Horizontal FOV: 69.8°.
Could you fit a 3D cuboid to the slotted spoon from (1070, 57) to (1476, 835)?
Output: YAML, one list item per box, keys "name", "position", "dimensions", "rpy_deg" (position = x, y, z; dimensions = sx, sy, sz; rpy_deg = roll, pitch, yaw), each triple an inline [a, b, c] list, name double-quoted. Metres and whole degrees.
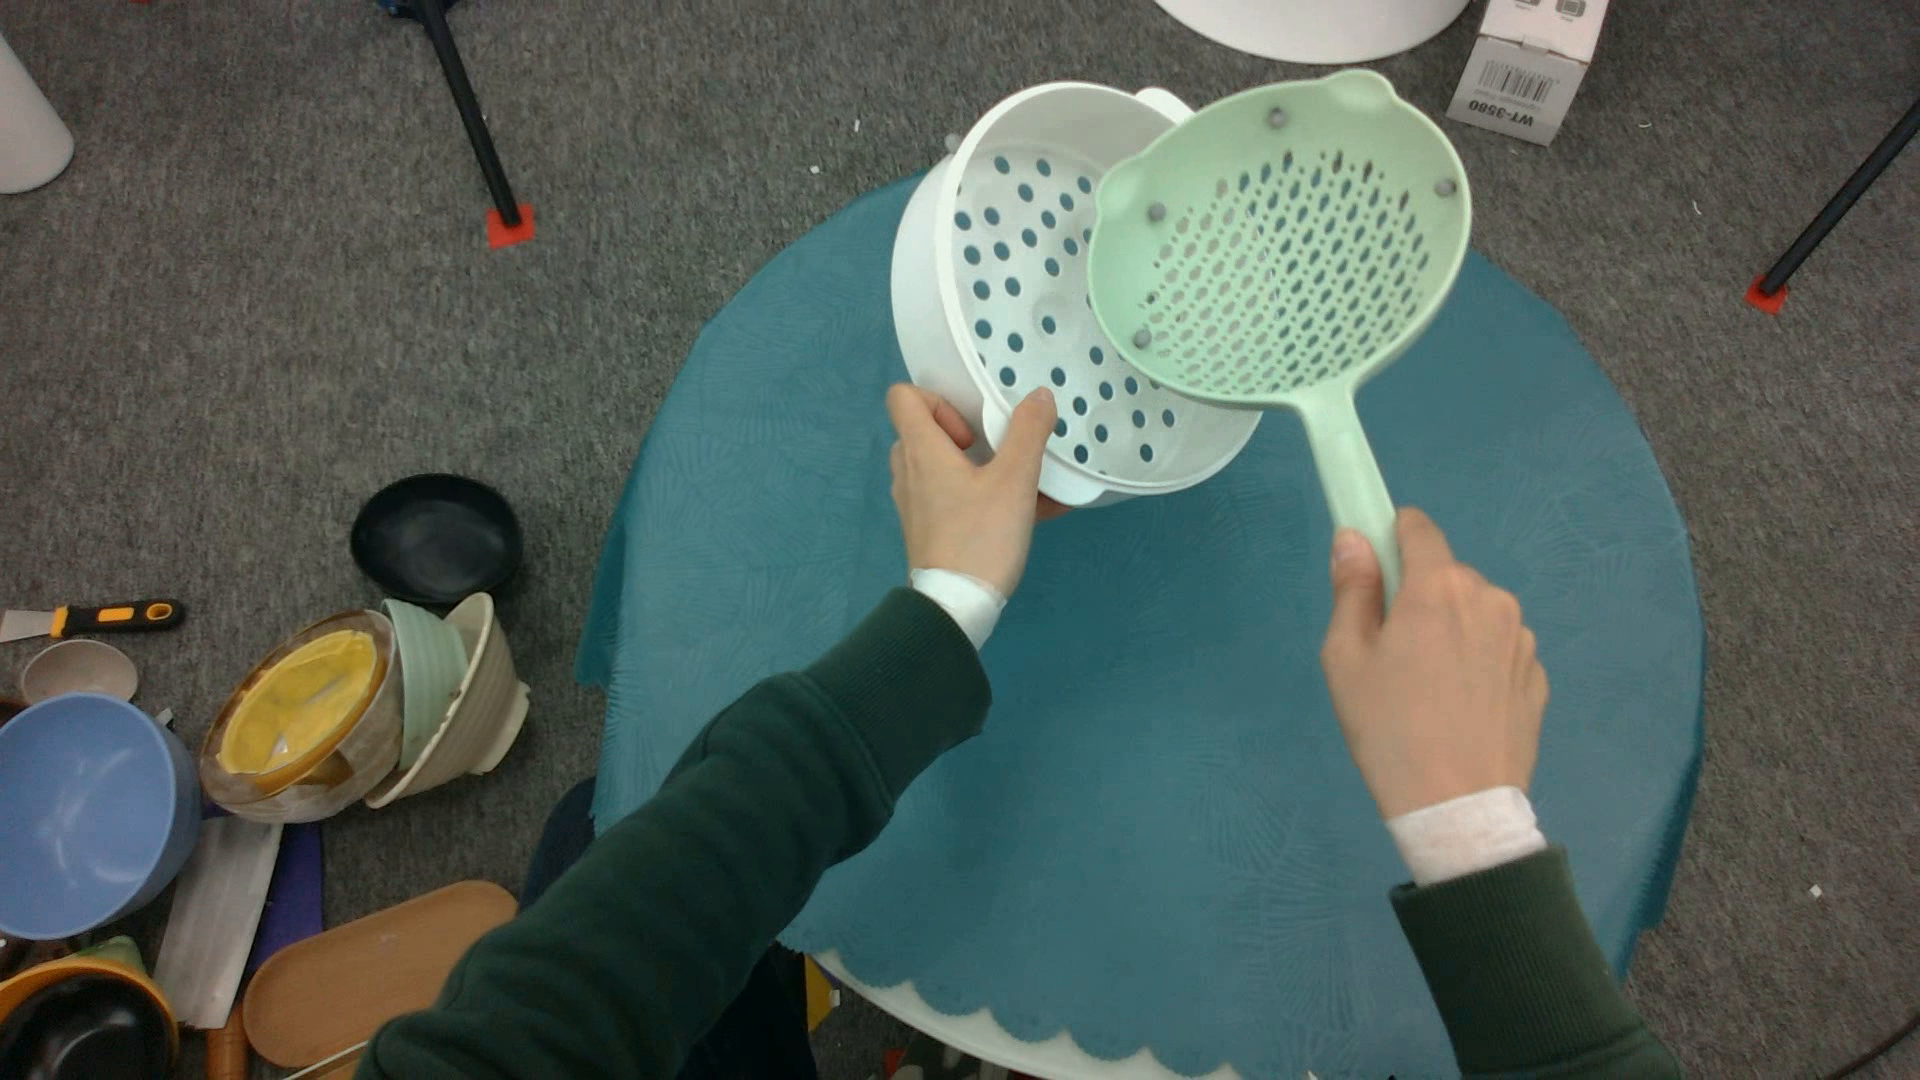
- name: "slotted spoon"
  position: [0.151, -0.055, 0.583]
  dimensions: [0.169, 0.075, 0.360]
  rpy_deg: [-19, 53, 15]

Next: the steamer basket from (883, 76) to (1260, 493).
- name: "steamer basket"
  position: [0.058, -0.122, 0.681]
  dimensions: [0.202, 0.069, 0.231]
  rpy_deg: [34, 64, -20]
